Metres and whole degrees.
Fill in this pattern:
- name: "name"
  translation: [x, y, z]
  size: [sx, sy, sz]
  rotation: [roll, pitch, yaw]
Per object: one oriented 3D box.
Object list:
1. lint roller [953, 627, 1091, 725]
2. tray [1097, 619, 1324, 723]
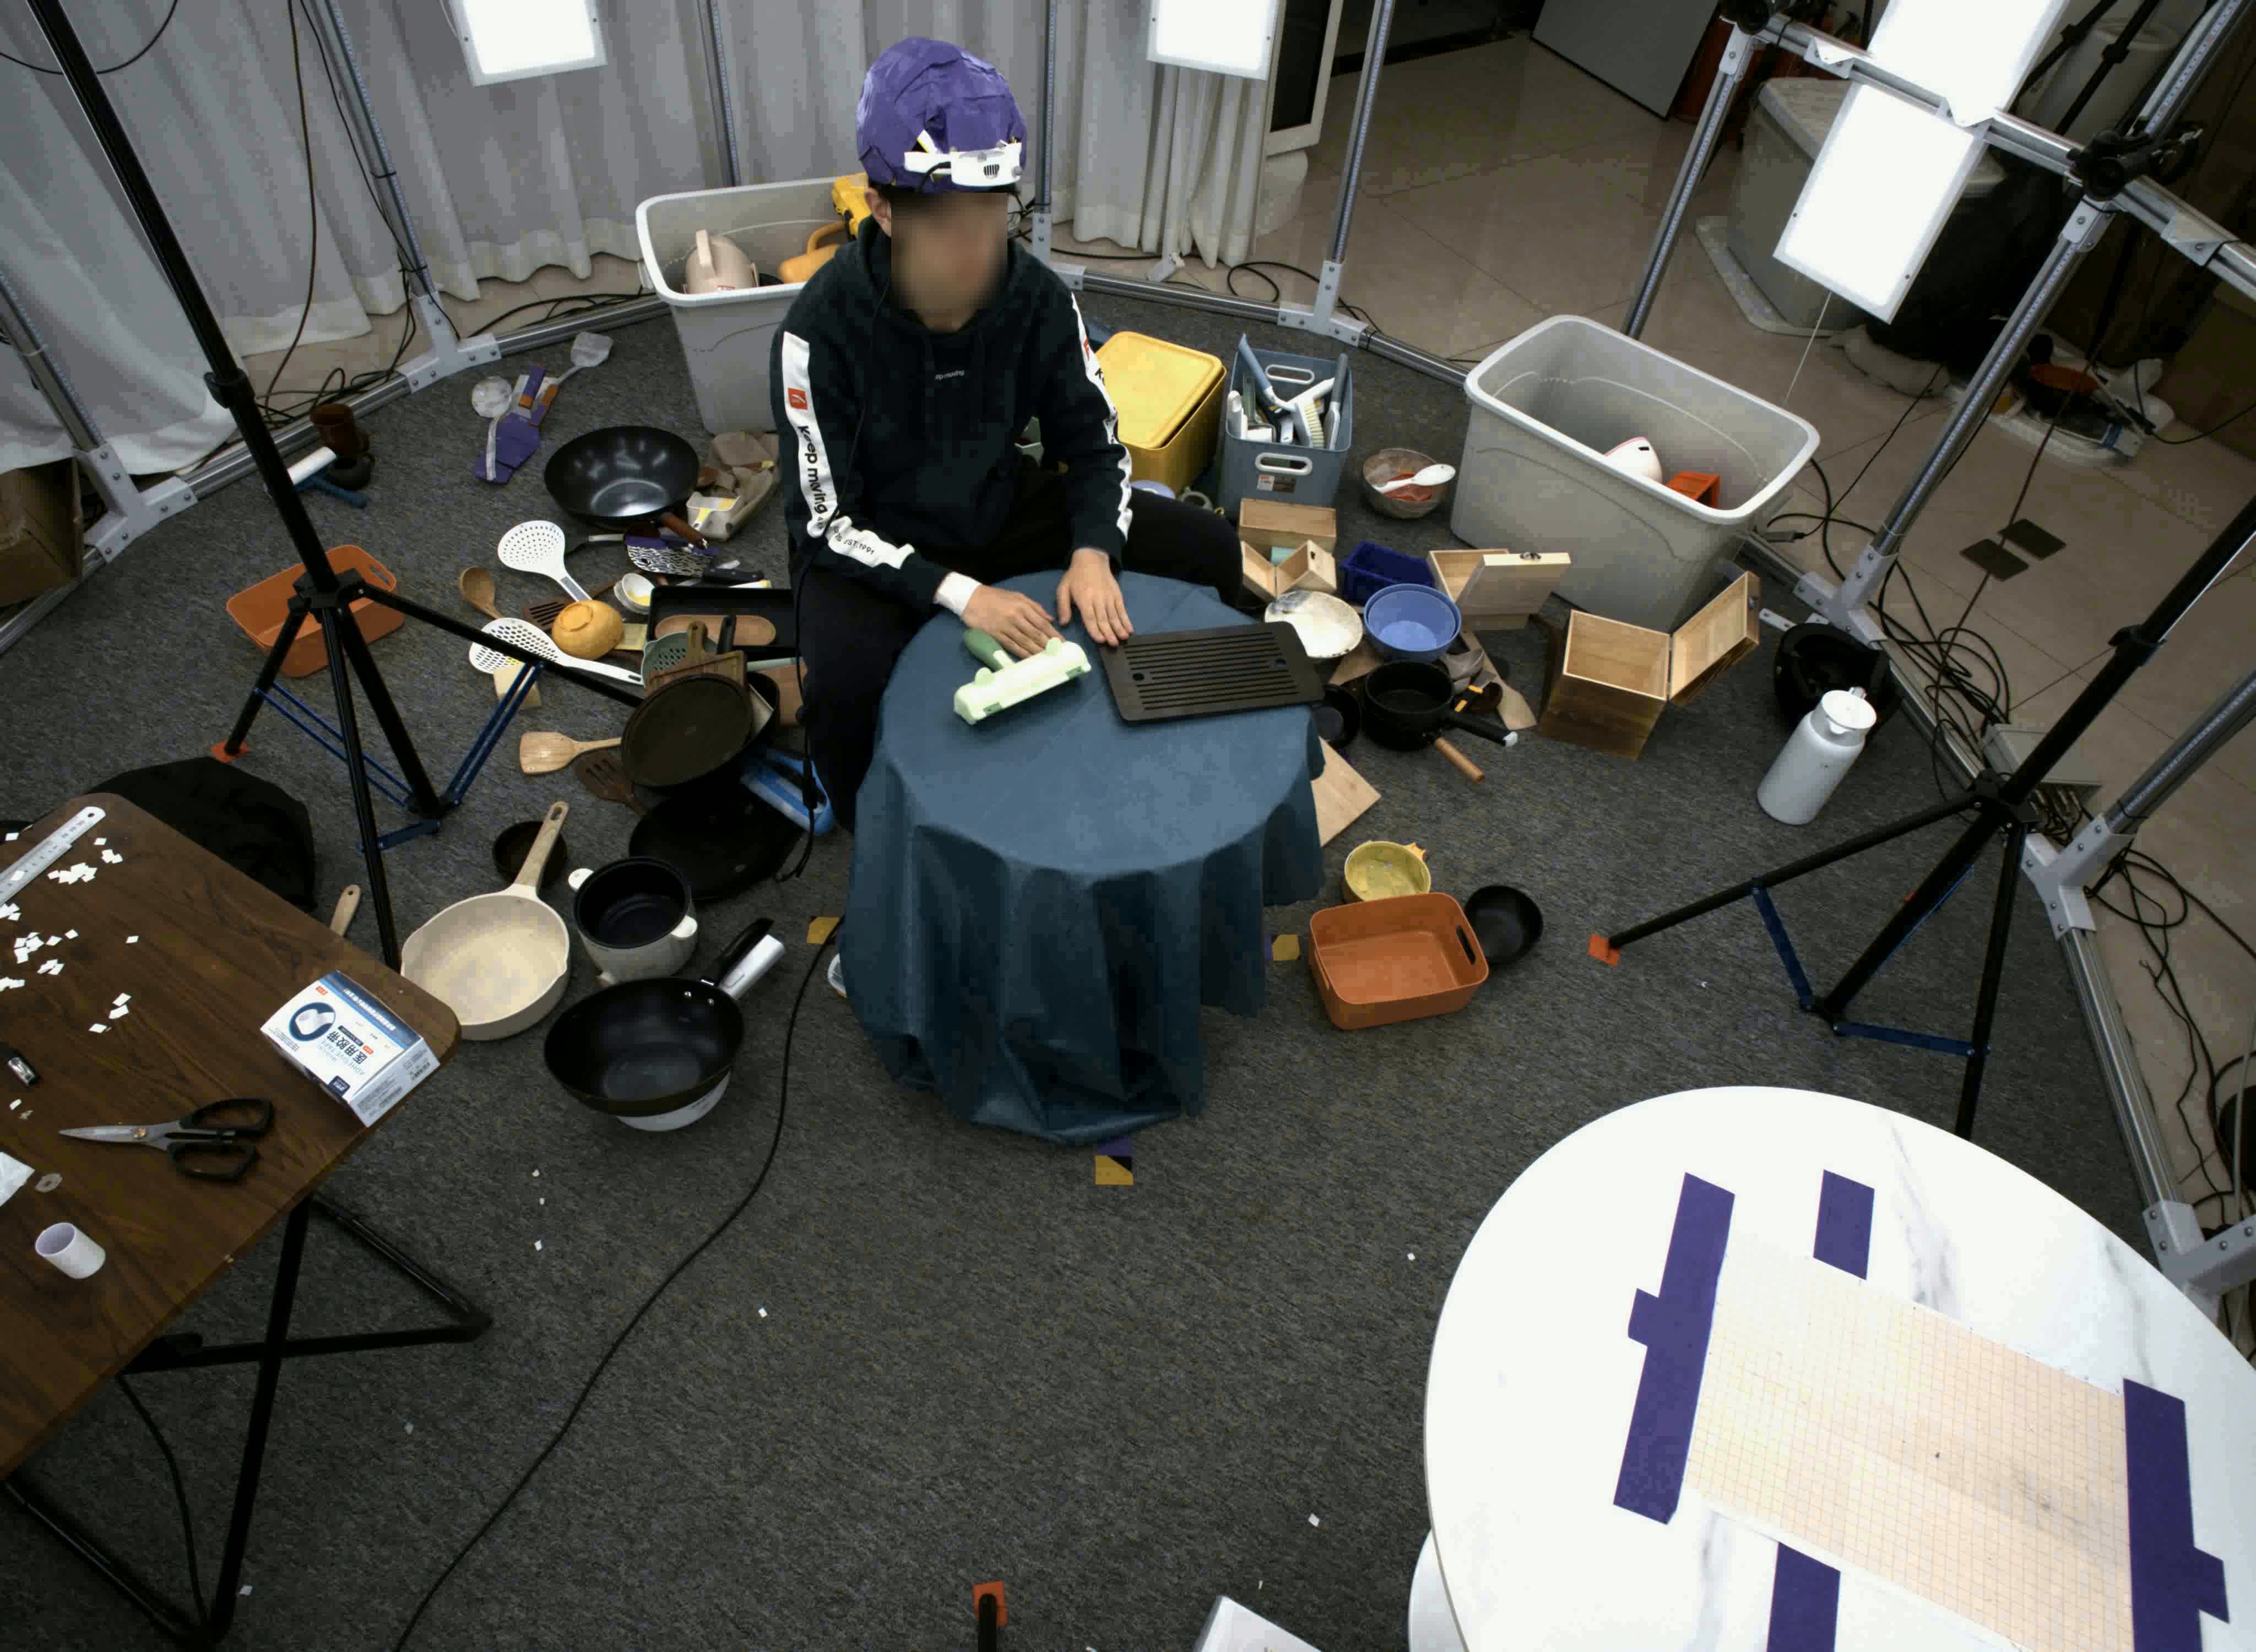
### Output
- name: "lint roller"
  translation: [-0.179, -0.243, 1.816]
  size: [0.199, 0.080, 0.187]
  rotation: [-27, 59, -24]
- name: "tray"
  translation: [0.118, -0.225, 1.865]
  size: [0.305, 0.018, 0.174]
  rotation: [-8, 50, -12]
